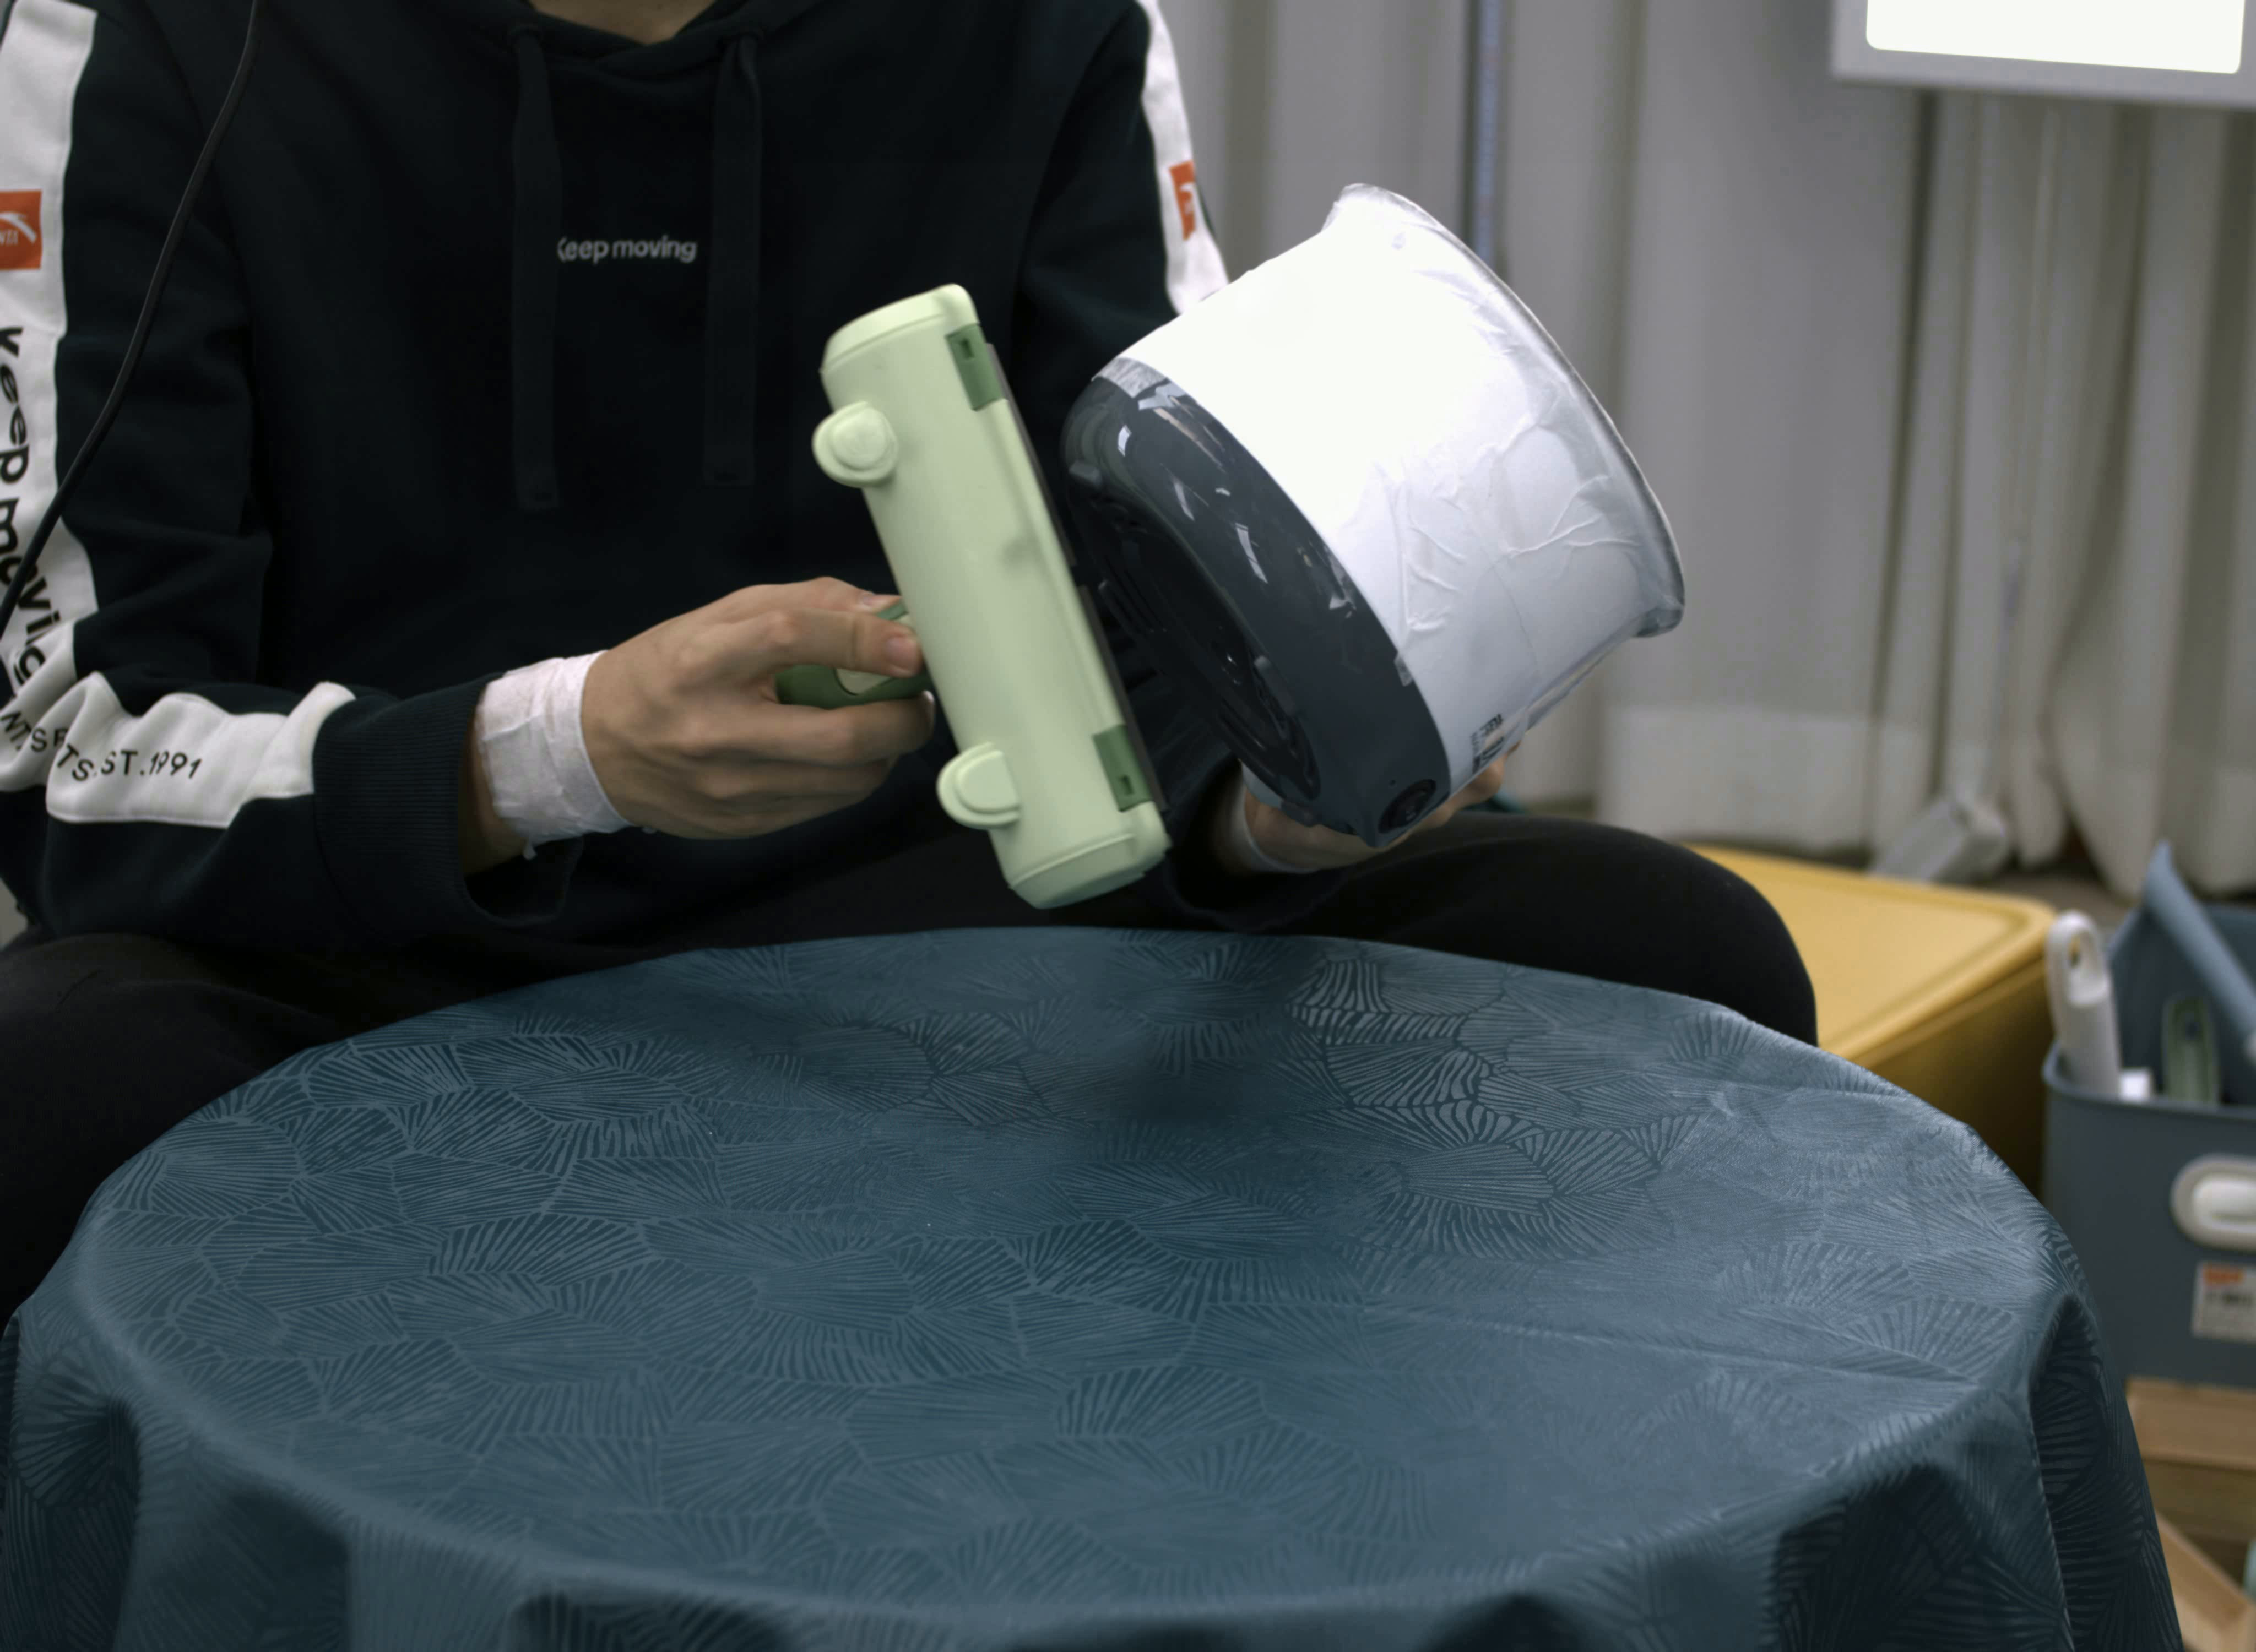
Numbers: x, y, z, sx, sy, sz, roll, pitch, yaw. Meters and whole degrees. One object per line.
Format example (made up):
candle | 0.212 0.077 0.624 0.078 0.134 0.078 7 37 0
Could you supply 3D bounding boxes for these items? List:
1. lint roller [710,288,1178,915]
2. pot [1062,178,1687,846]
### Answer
lint roller | -0.085 -0.051 1.697 0.182 0.198 0.082 -23 -5 33
pot | 0.077 -0.086 1.706 0.136 0.236 0.177 -36 68 -9
